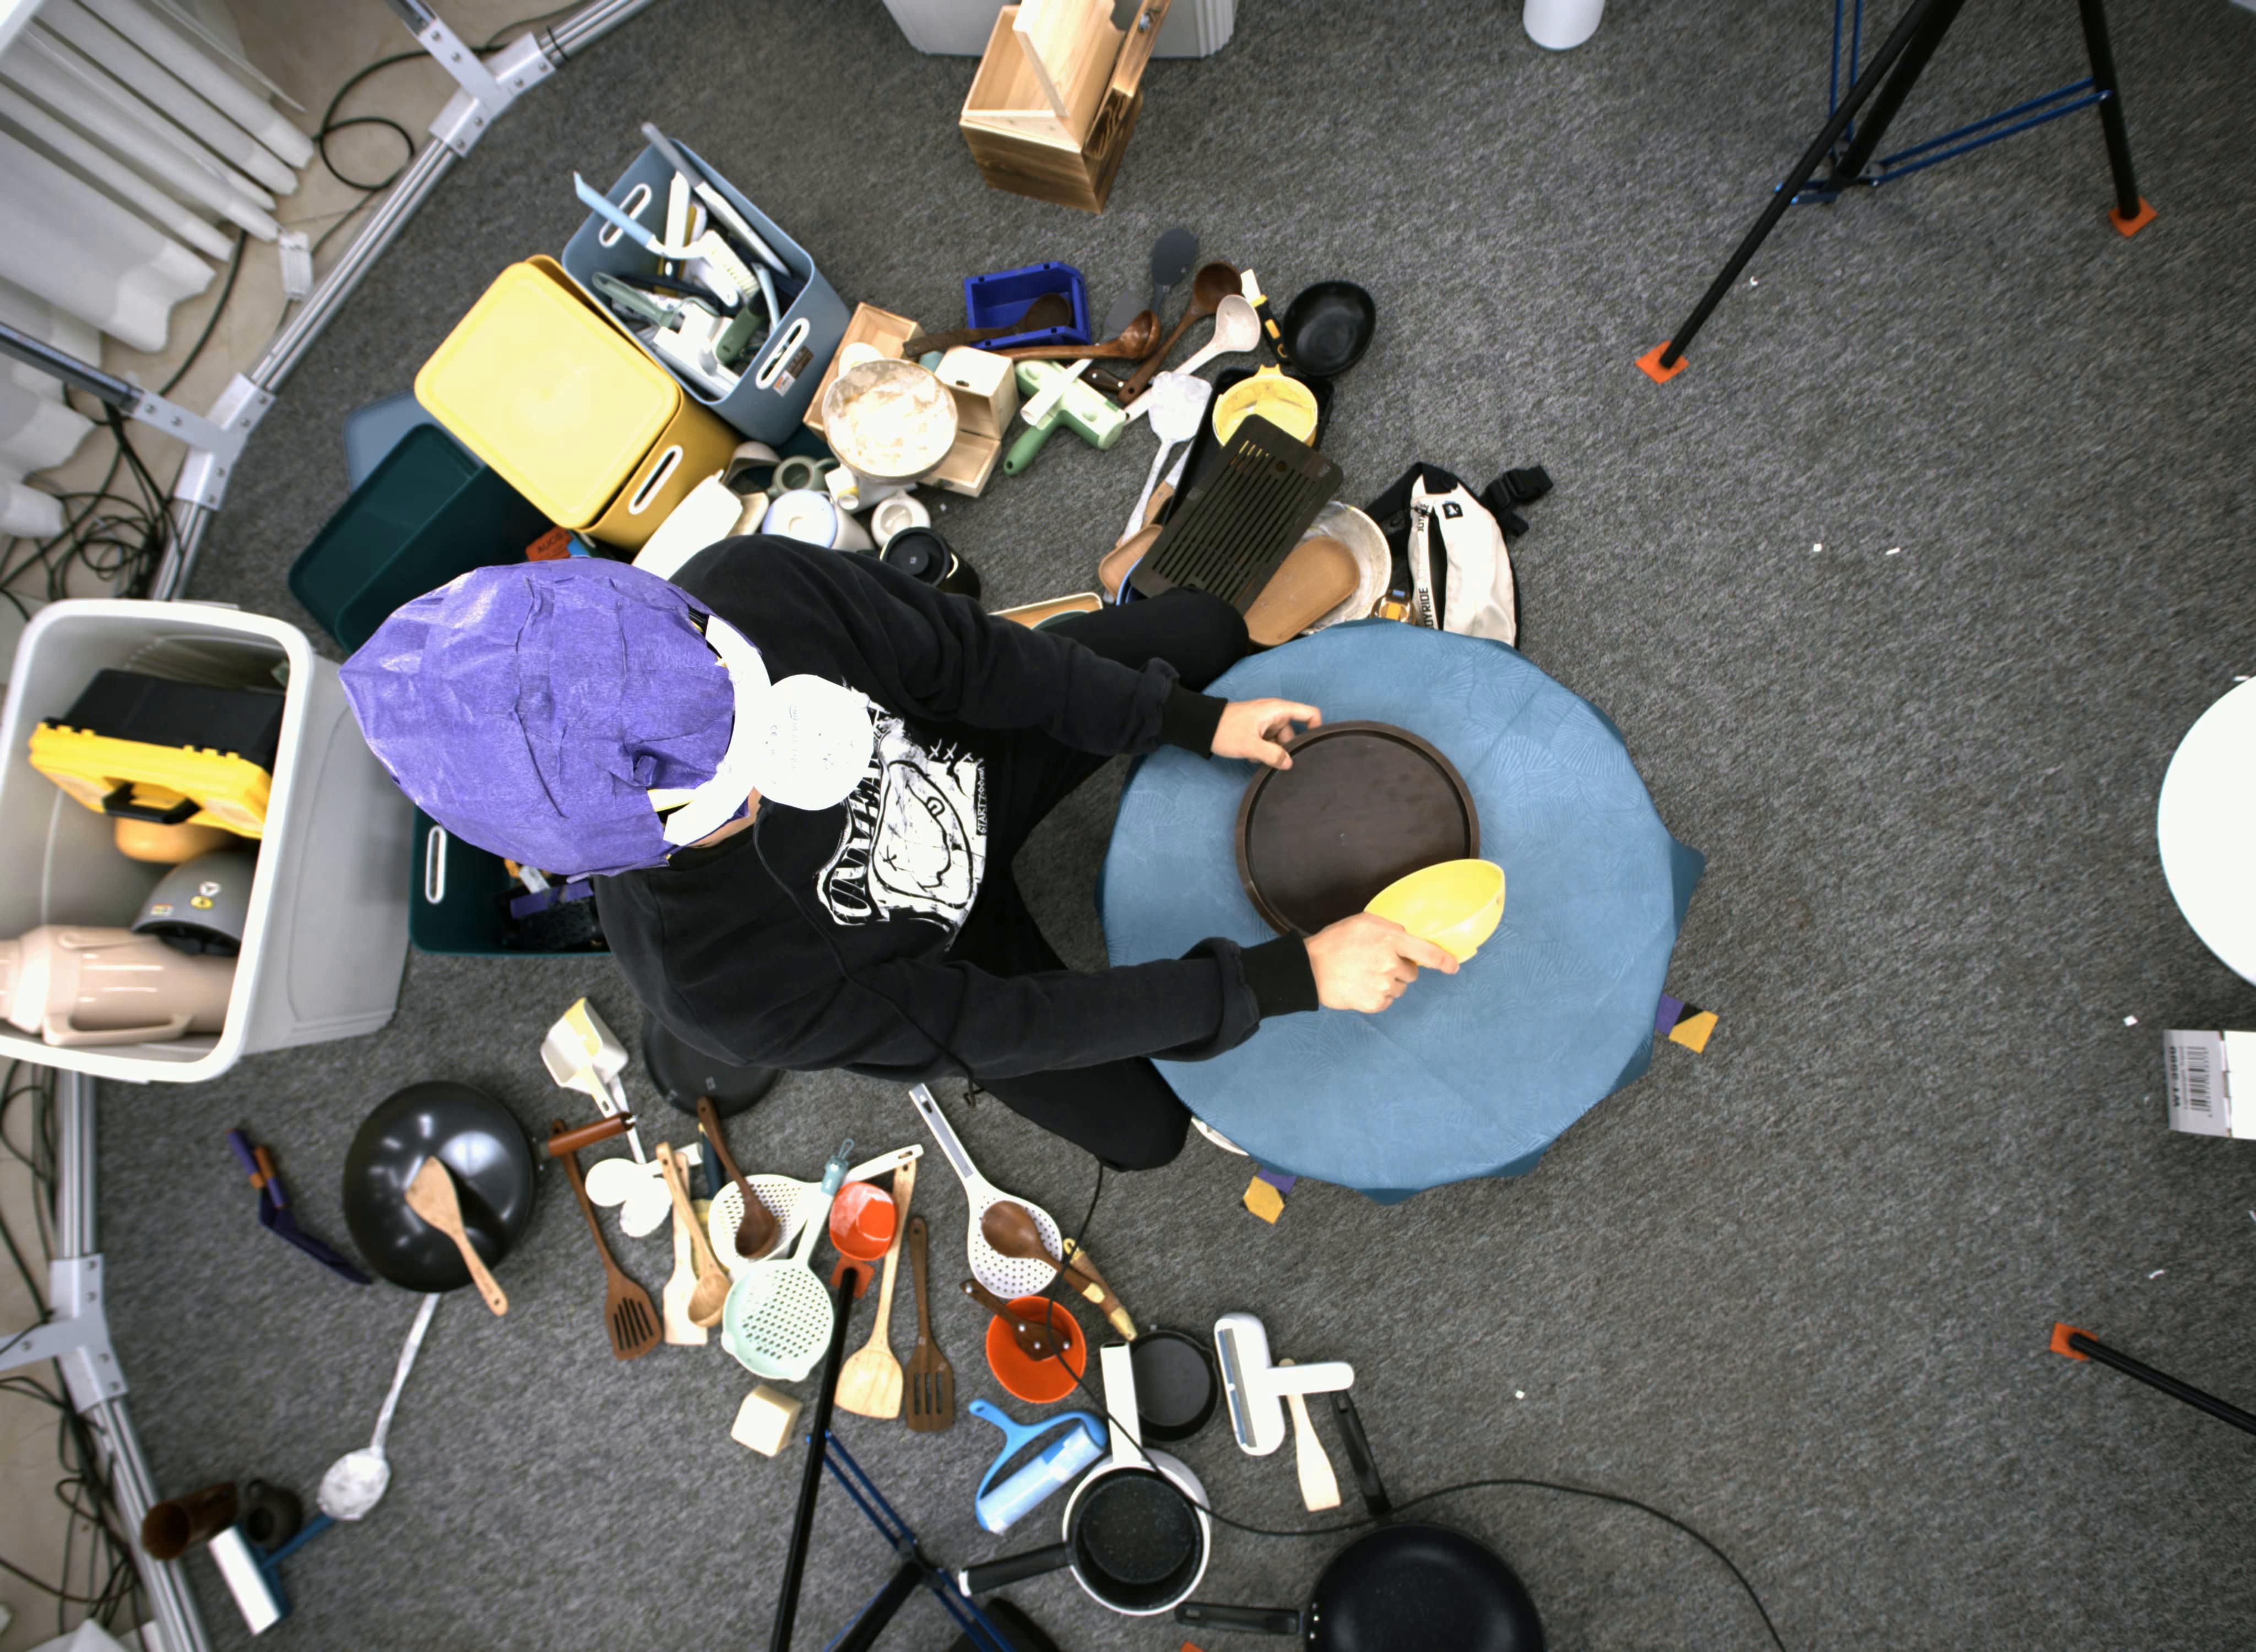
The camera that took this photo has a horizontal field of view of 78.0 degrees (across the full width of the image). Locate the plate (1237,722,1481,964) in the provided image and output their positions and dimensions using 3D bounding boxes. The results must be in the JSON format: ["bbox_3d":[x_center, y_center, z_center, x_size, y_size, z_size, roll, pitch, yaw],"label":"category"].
[{"bbox_3d":[0.240,0.017,1.441,0.255,0.029,0.256,1,99,7],"label":"plate"}]

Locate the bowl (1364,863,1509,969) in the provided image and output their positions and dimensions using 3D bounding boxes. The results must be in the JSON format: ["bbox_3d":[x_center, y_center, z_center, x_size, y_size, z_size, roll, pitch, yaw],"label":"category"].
[{"bbox_3d":[0.306,0.094,1.331,0.146,0.143,0.061,-24,108,7],"label":"bowl"}]
